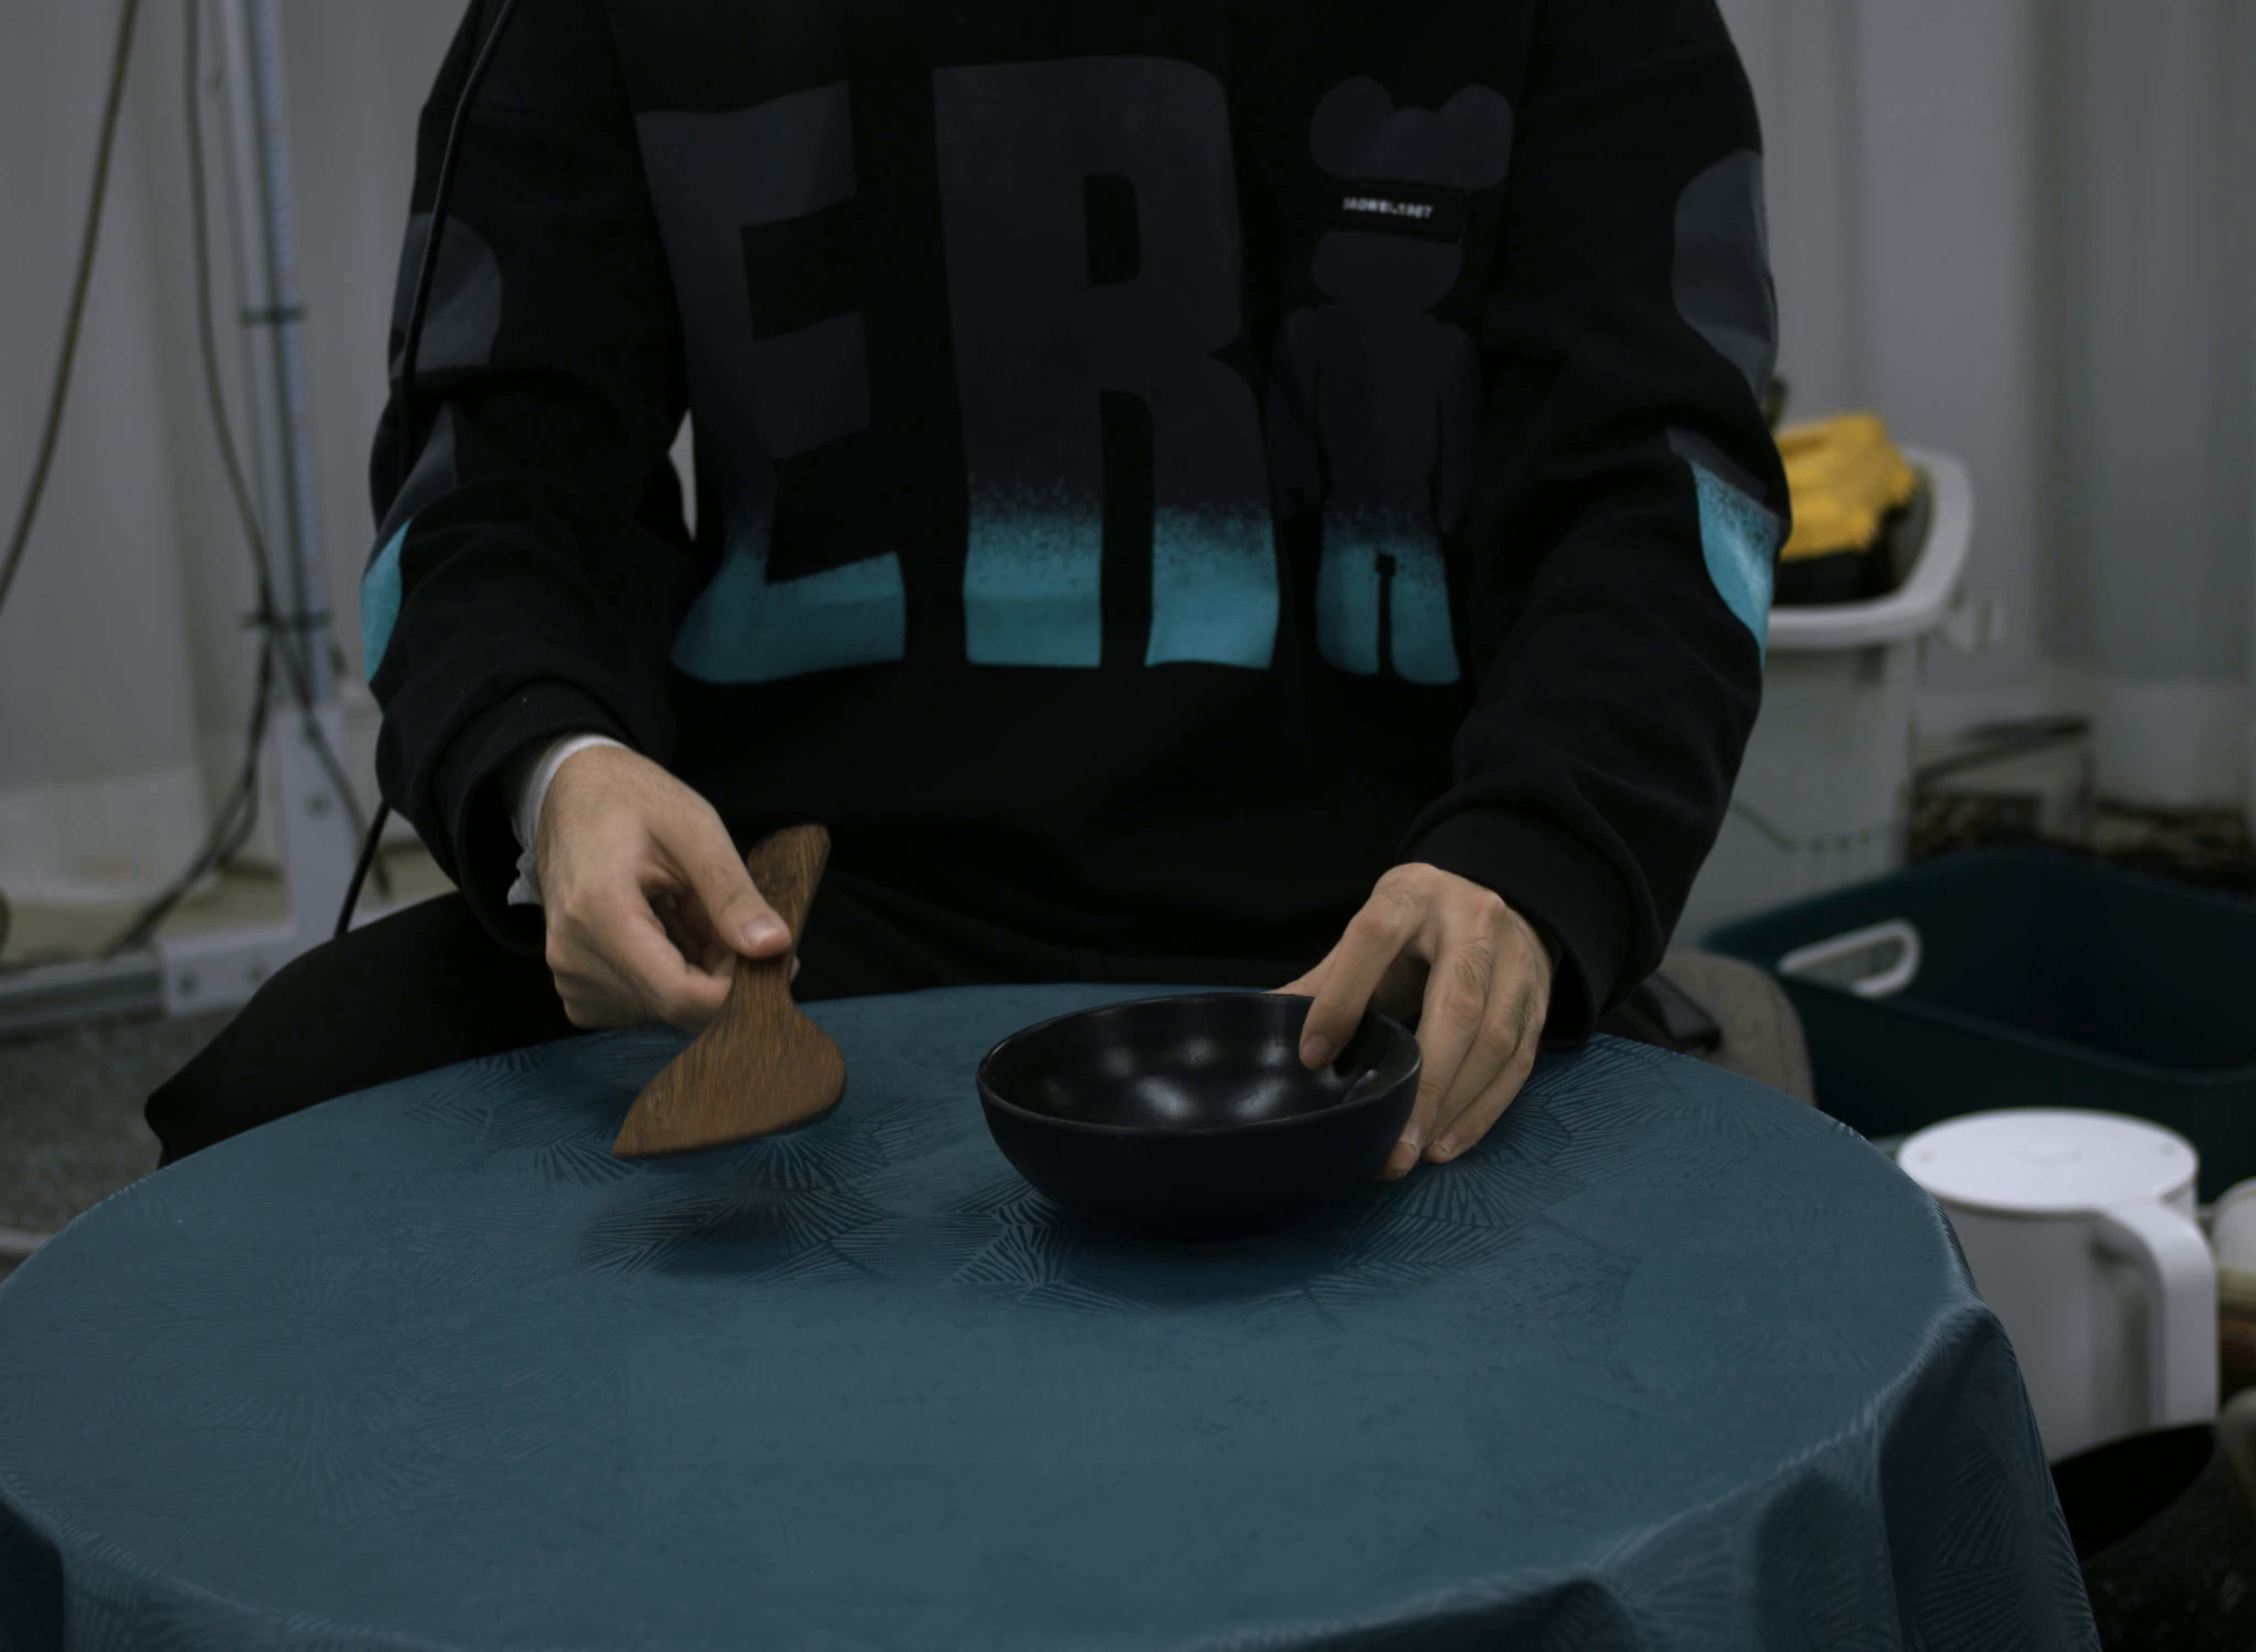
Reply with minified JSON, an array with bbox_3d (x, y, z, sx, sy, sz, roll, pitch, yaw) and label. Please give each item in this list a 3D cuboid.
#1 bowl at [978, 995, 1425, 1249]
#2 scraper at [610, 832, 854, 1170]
[{"bbox_3d":[0.025,0.096,1.690,0.139,0.049,0.141,-6,14,1],"label":"bowl"},{"bbox_3d":[-0.118,0.054,1.761,0.075,0.011,0.214,-10,27,9],"label":"scraper"}]
